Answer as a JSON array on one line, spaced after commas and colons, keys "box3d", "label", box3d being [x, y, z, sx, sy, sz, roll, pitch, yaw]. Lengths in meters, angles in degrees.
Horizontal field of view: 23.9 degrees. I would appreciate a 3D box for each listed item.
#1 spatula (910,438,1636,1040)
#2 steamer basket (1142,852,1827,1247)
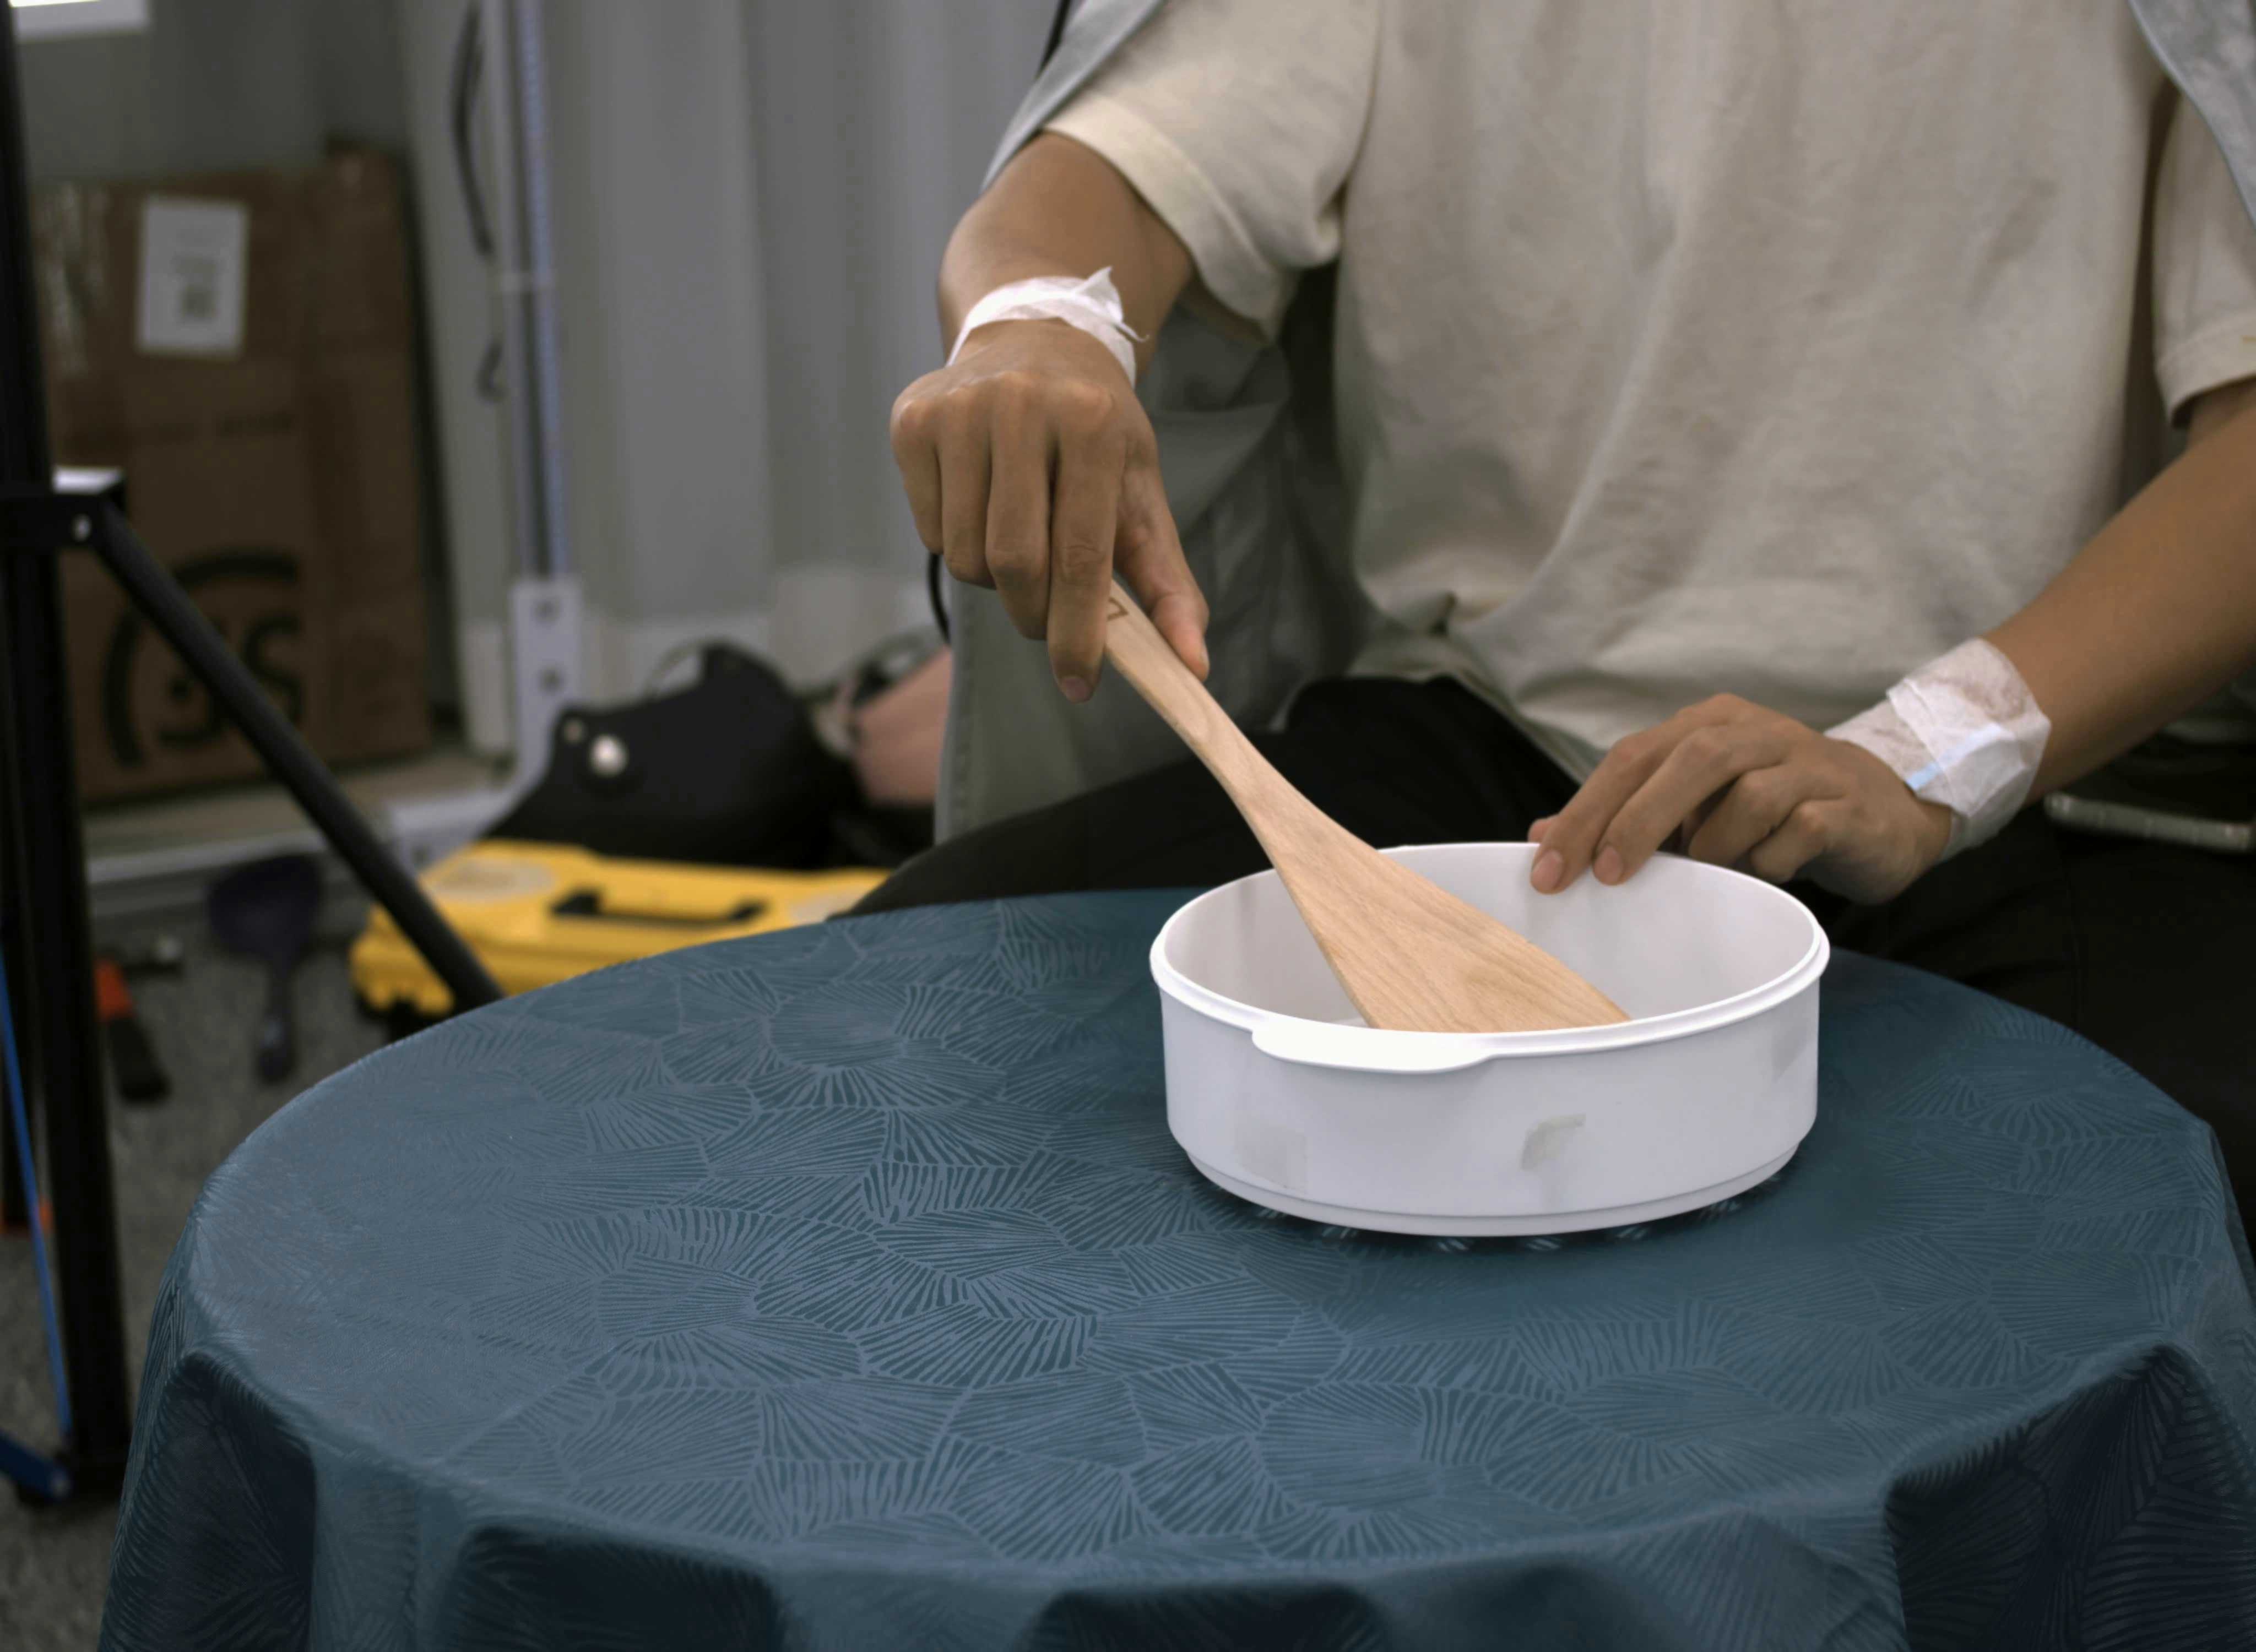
[{"box3d": [0.039, -0.017, 1.621, 0.078, 0.016, 0.334, -20, 55, -38], "label": "spatula"}, {"box3d": [0.105, 0.066, 1.568, 0.205, 0.069, 0.227, 6, 17, 25], "label": "steamer basket"}]
